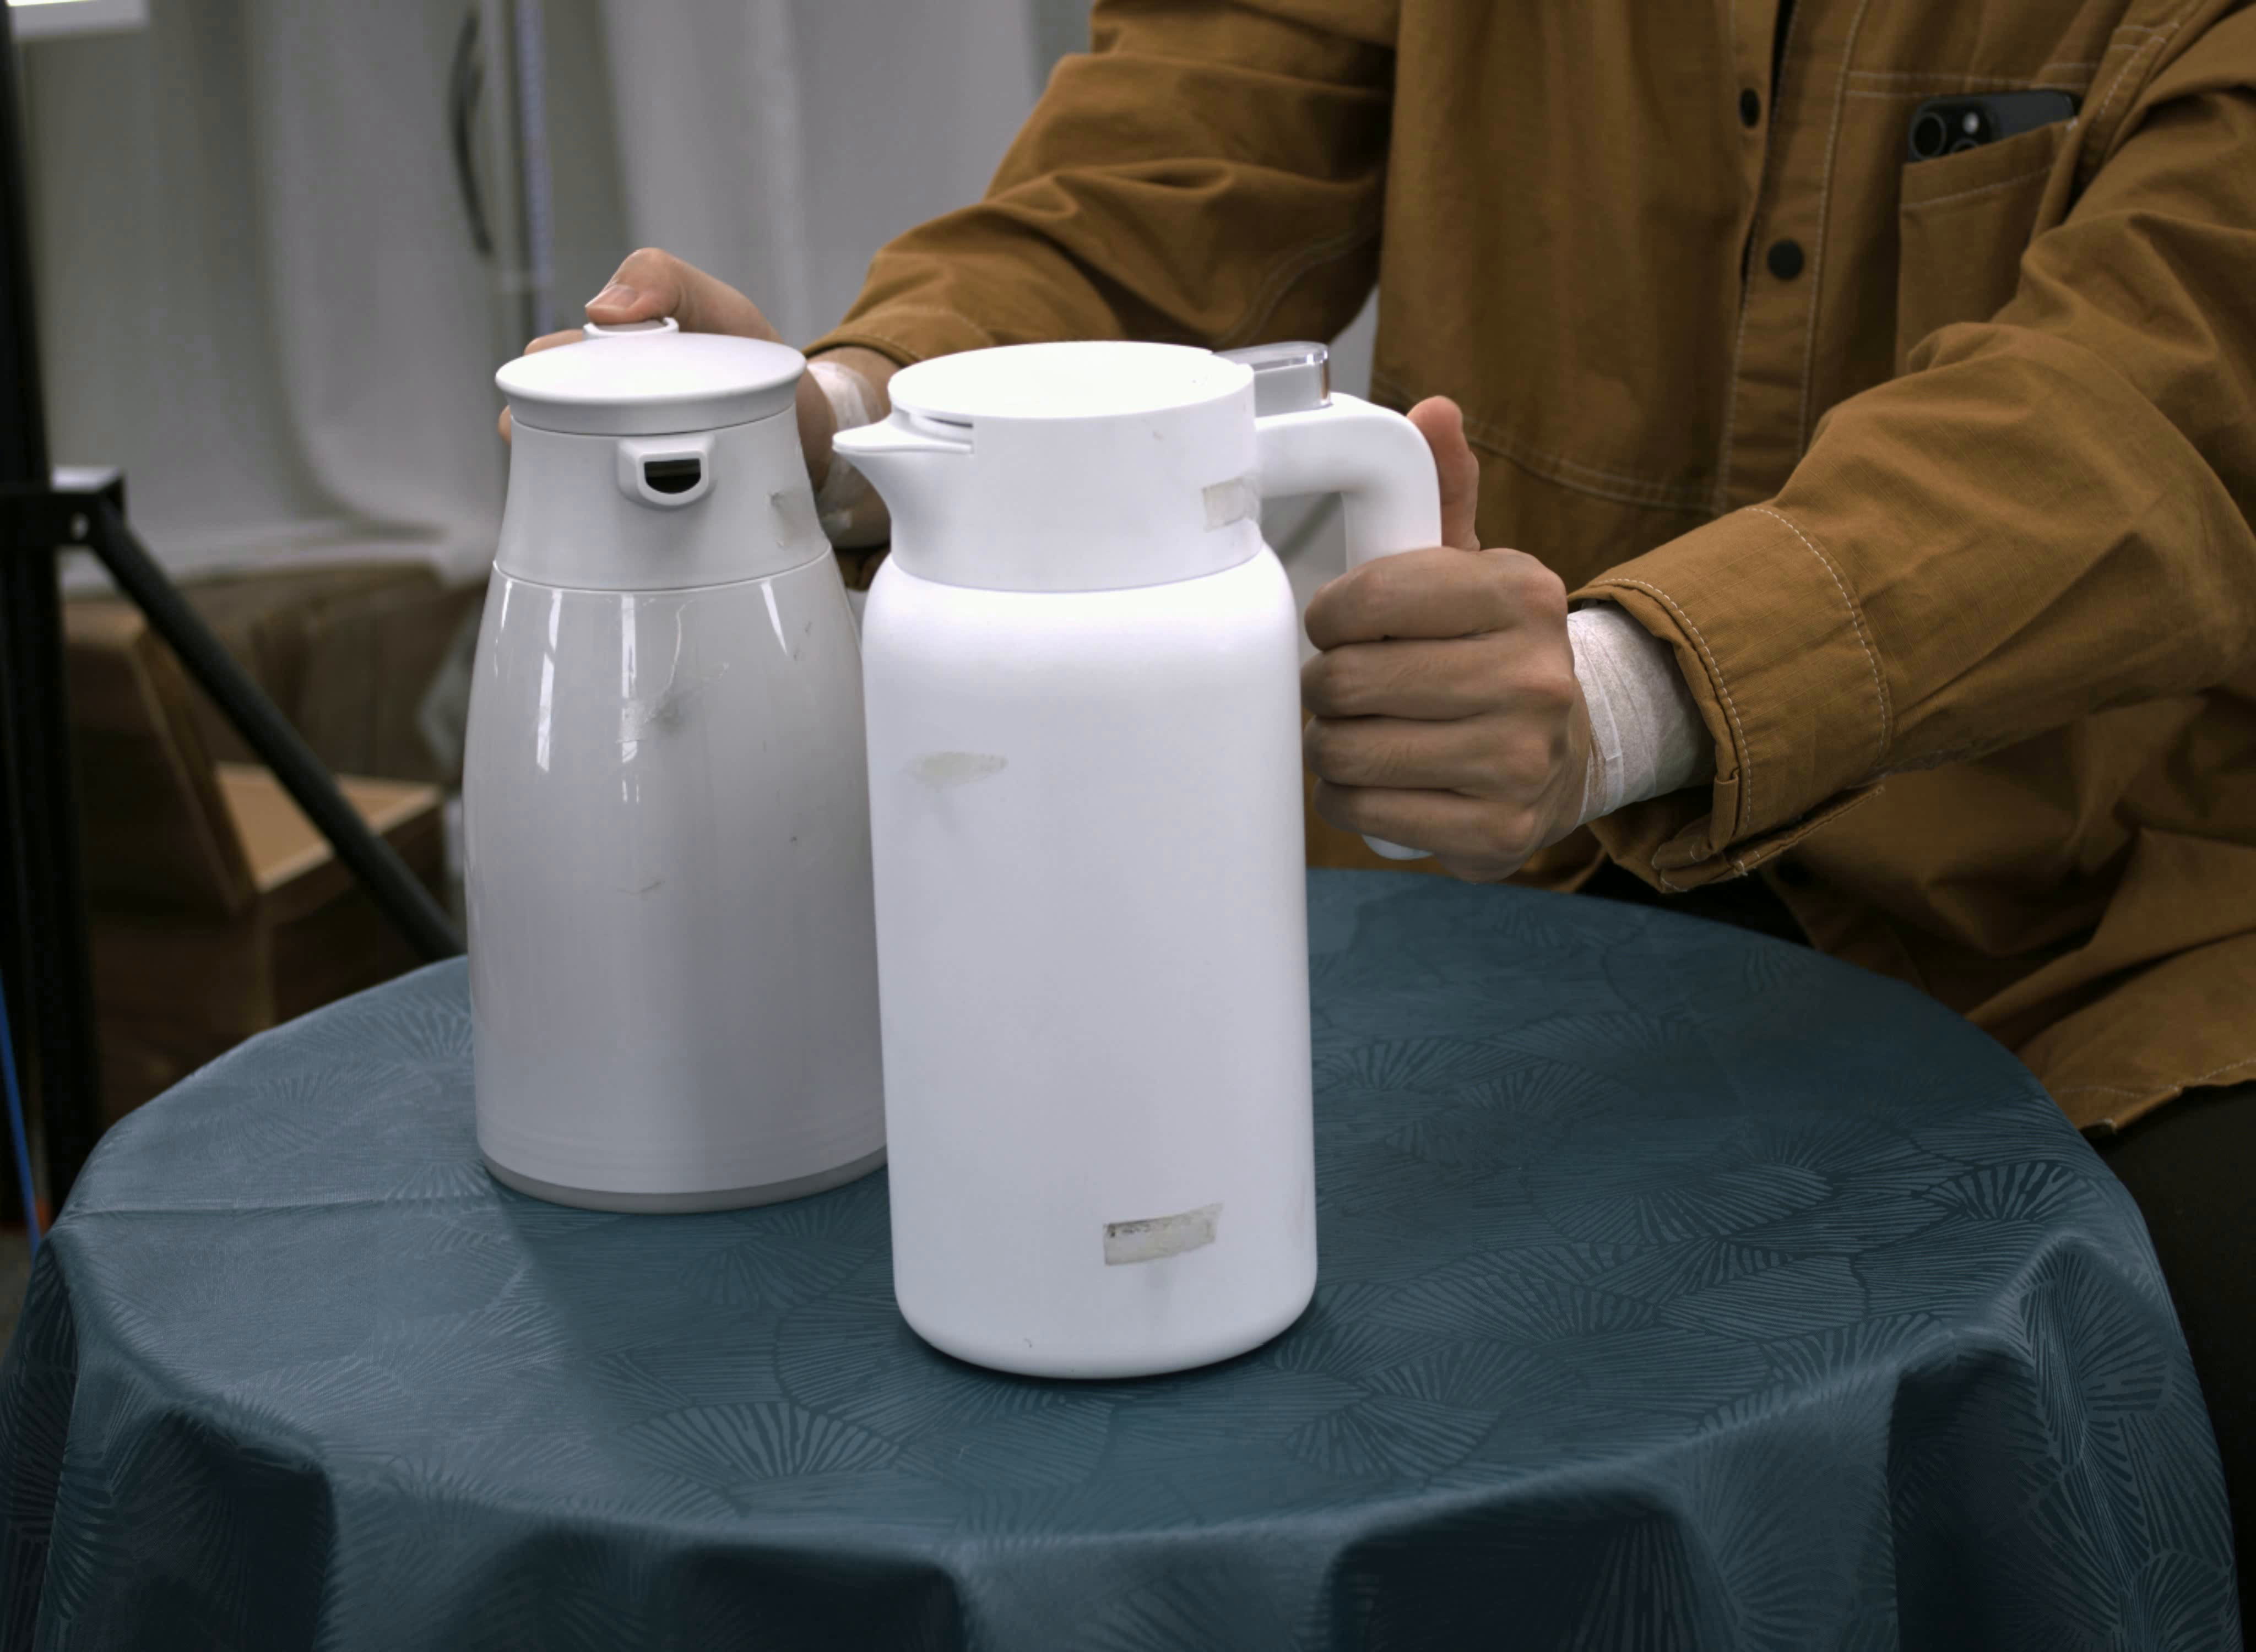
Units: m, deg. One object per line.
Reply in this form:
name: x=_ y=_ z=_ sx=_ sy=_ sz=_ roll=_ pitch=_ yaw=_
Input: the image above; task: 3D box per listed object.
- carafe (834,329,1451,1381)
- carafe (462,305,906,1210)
carafe: x=0.006 y=0.004 z=1.434 sx=0.169 sy=0.269 sz=0.126 roll=-9 pitch=14 yaw=-24
carafe: x=-0.139 y=-0.029 z=1.606 sx=0.131 sy=0.249 sz=0.169 roll=-4 pitch=14 yaw=-9
